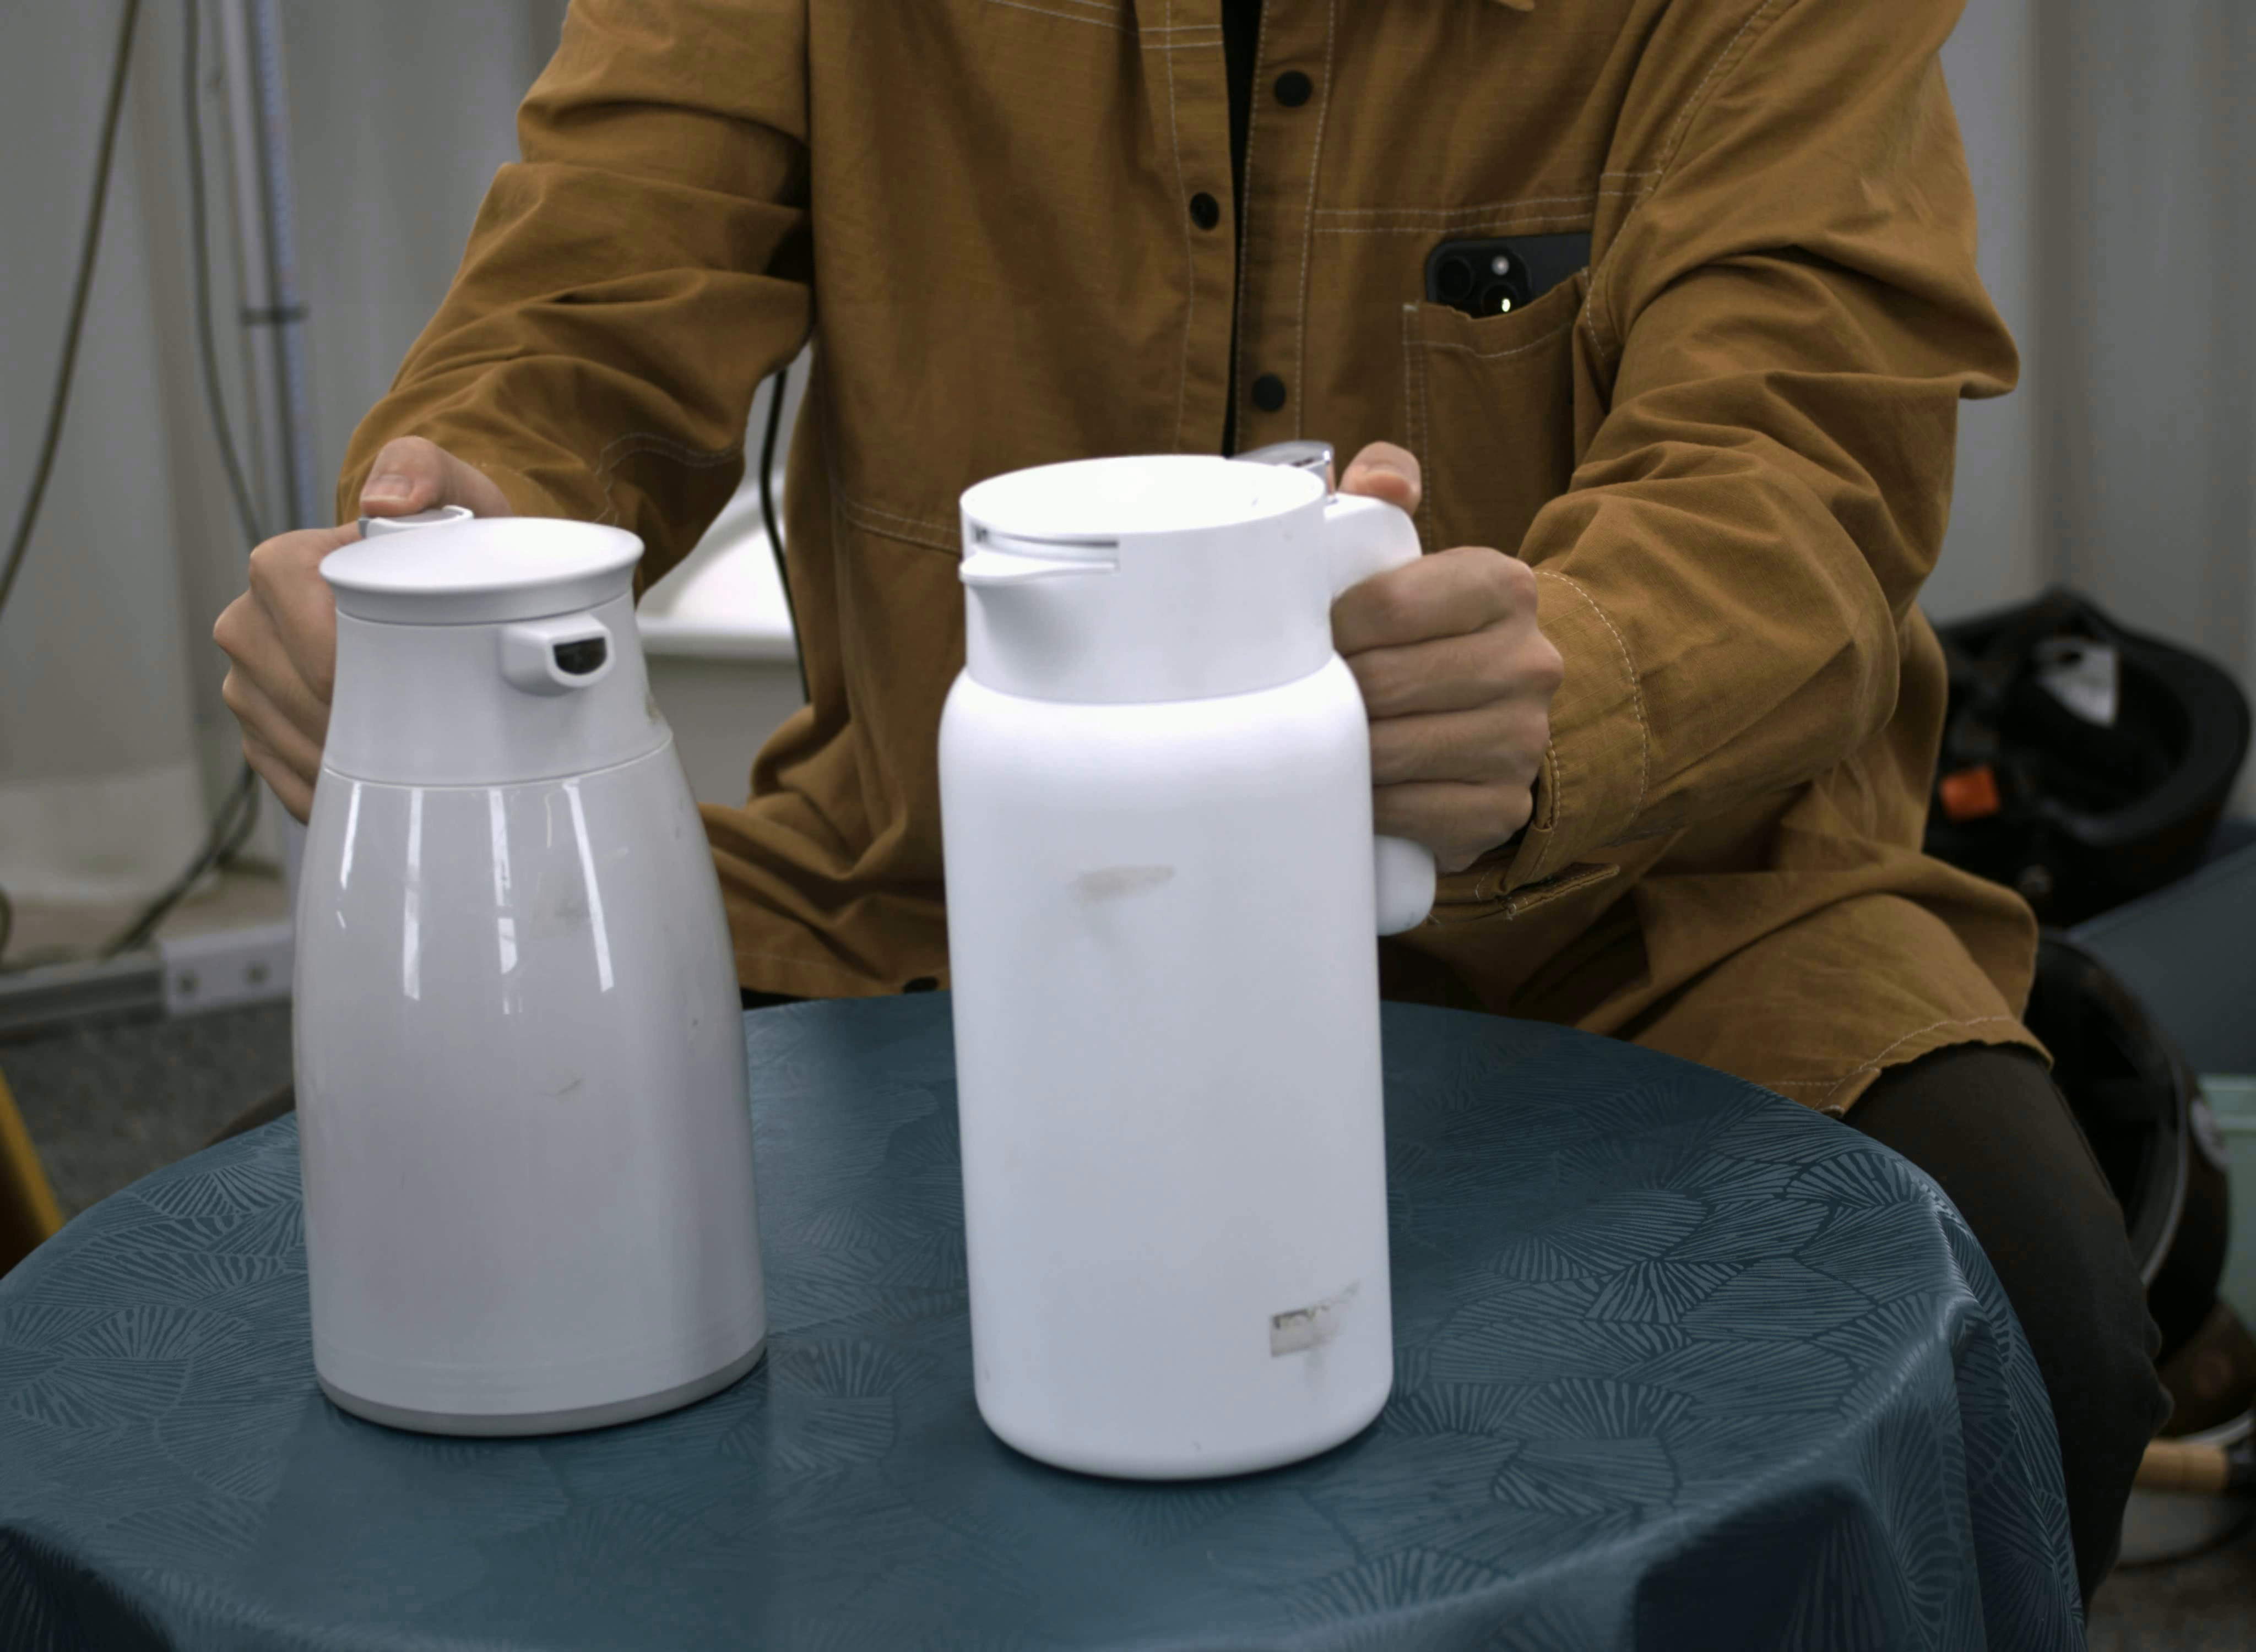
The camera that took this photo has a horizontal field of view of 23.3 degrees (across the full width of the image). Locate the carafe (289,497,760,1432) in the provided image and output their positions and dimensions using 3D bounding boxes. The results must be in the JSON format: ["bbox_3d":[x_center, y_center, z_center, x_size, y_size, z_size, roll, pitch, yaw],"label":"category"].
[{"bbox_3d":[-0.187,0.031,1.580,0.132,0.248,0.169,-10,14,-31],"label":"carafe"}]

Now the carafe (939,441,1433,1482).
[{"bbox_3d":[0.020,0.032,1.505,0.124,0.268,0.172,6,16,40],"label":"carafe"}]
